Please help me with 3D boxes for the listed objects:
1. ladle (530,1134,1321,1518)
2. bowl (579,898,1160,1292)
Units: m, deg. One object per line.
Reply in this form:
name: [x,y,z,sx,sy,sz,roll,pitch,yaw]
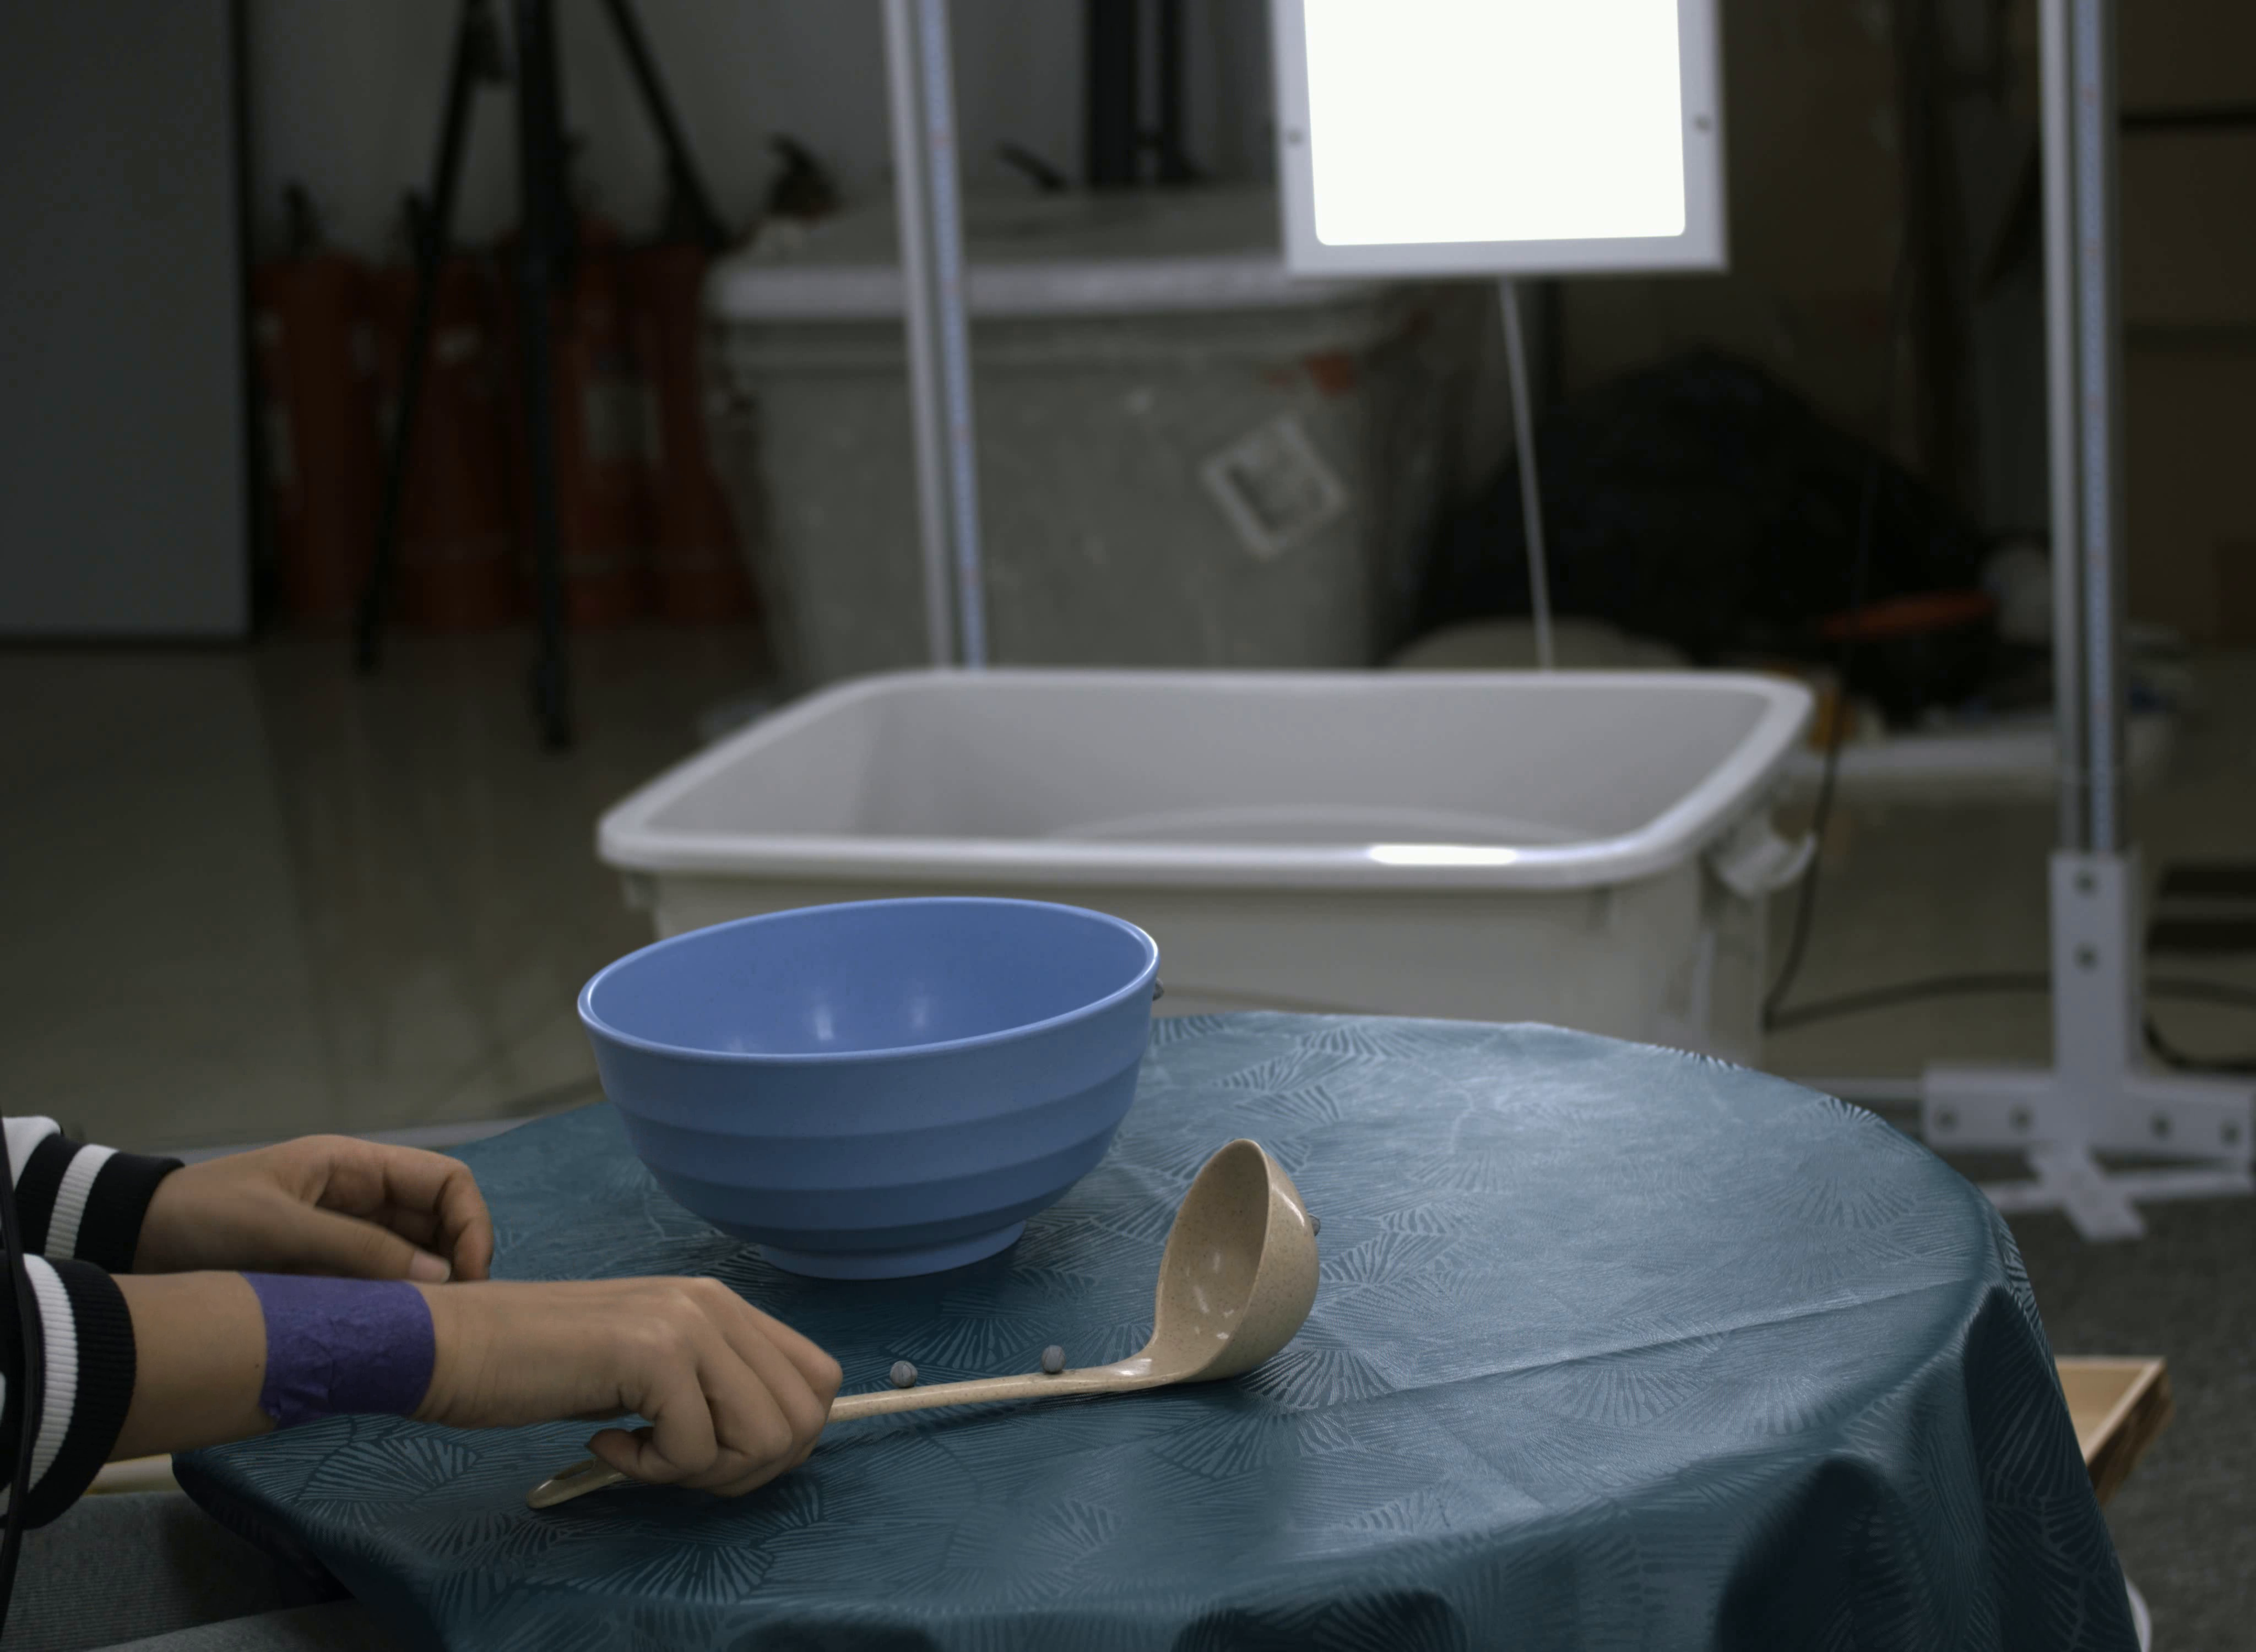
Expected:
ladle: [-0.063,0.149,1.675,0.250,0.073,0.073,-10,13,-18]
bowl: [-0.084,0.097,1.863,0.196,0.096,0.196,-5,15,0]
